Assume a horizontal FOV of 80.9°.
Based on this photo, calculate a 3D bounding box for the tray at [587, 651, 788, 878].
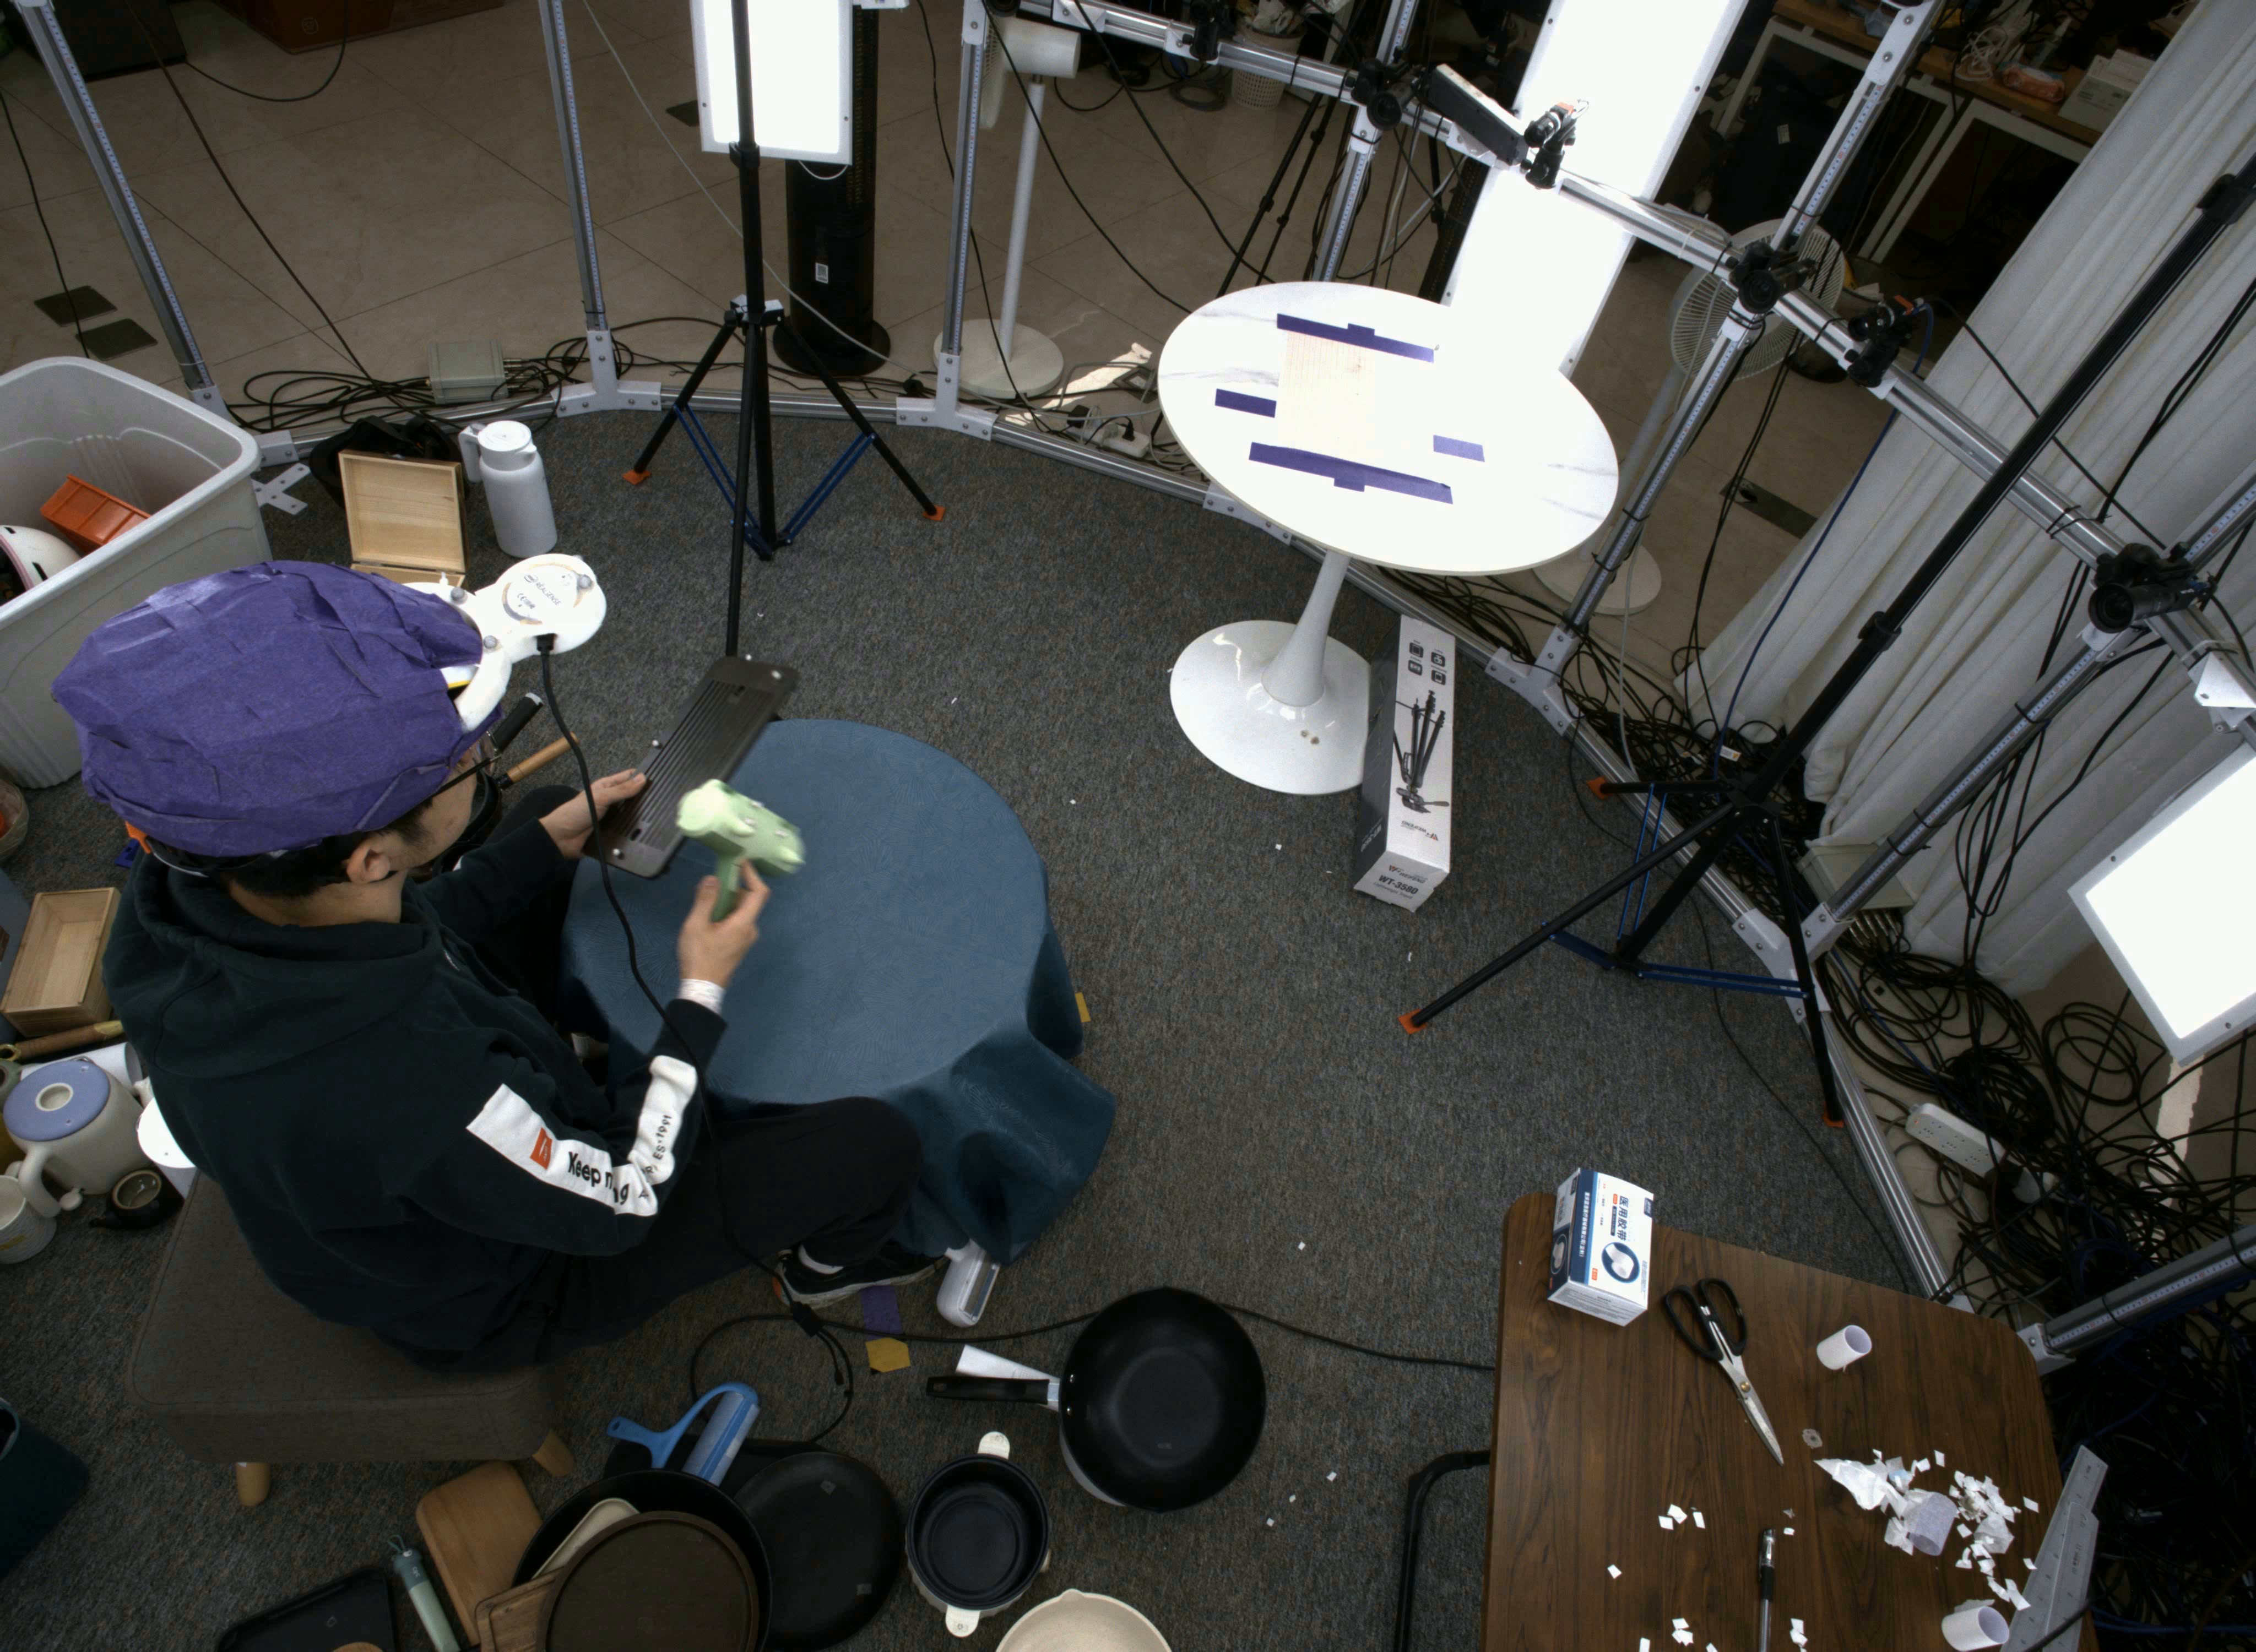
[{"bbox_3d":[-0.526,-0.079,1.533,0.164,0.019,0.305,12,66,40],"label":"tray"}]

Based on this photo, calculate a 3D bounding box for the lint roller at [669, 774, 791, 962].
[{"bbox_3d":[-0.440,0.057,1.427,0.080,0.202,0.183,2,76,10],"label":"lint roller"}]
